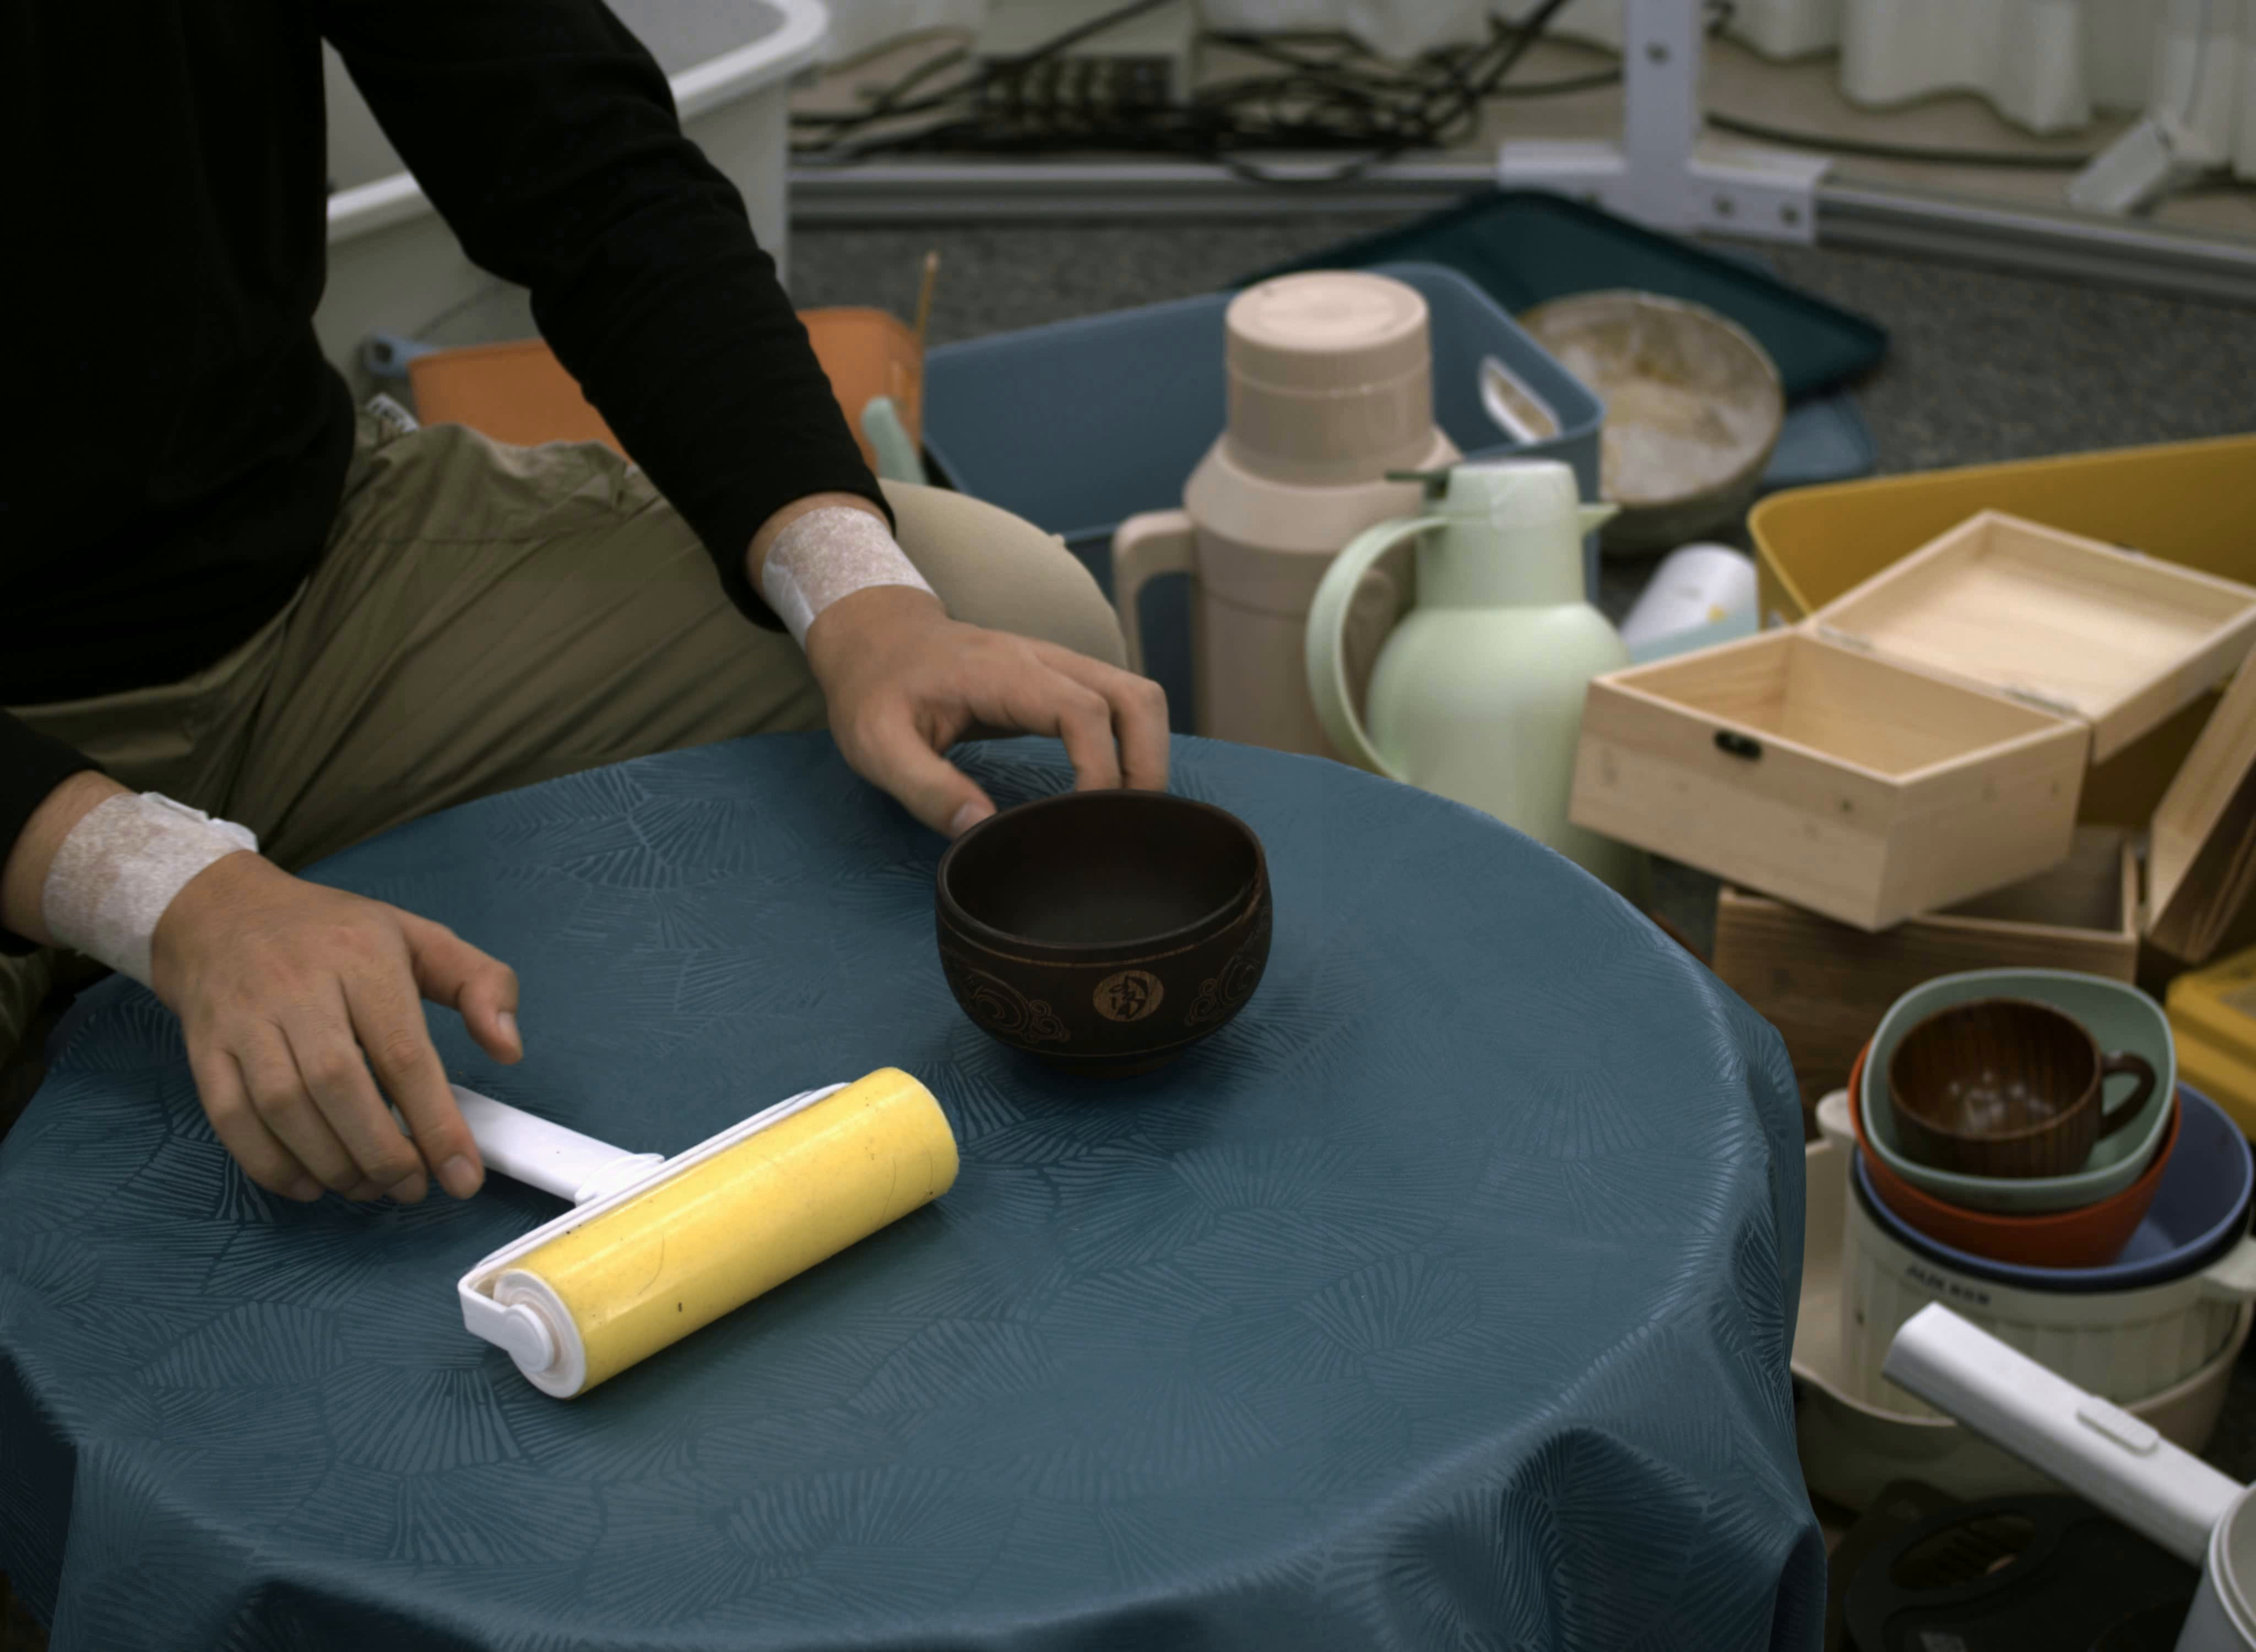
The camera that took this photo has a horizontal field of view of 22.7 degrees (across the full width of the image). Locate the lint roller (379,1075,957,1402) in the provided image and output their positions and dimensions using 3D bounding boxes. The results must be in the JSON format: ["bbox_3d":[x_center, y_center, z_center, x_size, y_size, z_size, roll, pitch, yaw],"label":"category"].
[{"bbox_3d":[-0.180,0.108,1.849,0.192,0.051,0.176,26,38,36],"label":"lint roller"}]

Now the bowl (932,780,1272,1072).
[{"bbox_3d":[-0.009,0.041,1.937,0.117,0.069,0.120,-1,27,1],"label":"bowl"}]
